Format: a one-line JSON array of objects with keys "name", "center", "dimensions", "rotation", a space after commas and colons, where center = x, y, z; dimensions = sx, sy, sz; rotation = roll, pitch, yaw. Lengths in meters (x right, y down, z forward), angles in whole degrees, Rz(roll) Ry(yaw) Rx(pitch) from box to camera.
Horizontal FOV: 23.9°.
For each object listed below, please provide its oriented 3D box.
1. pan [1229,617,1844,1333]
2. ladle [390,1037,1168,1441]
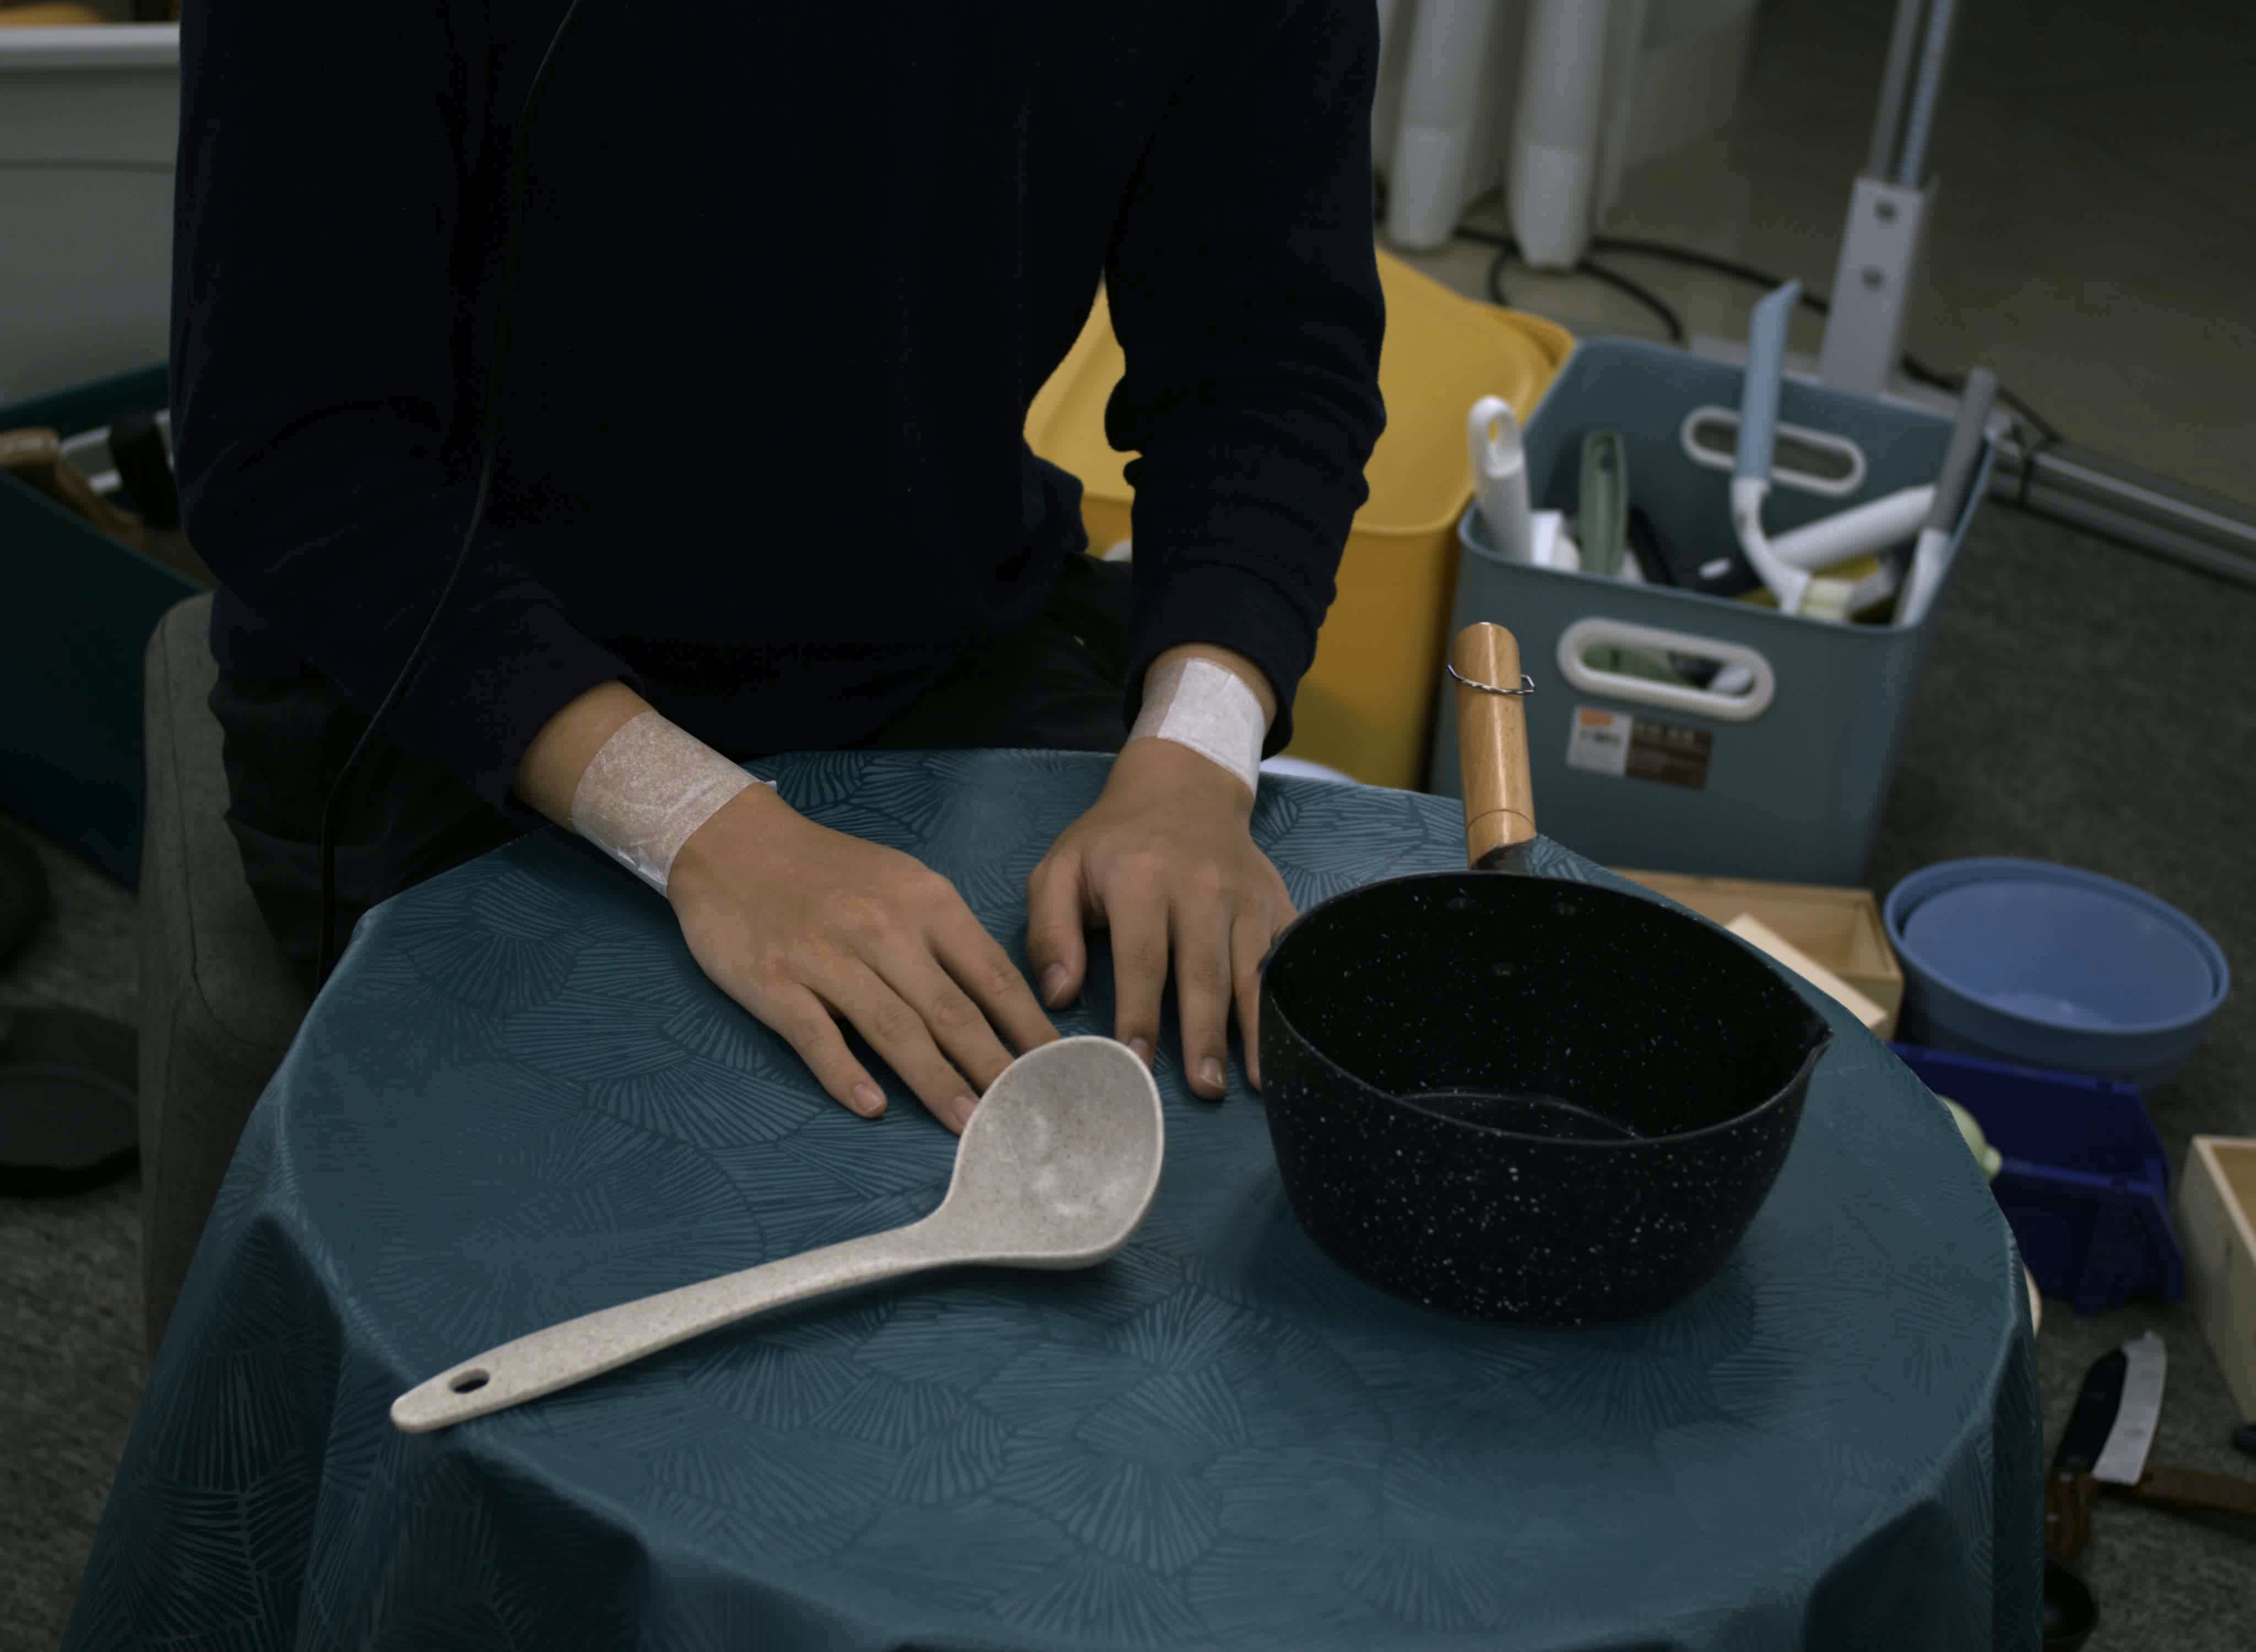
[{"name": "pan", "center": [0.131, 0.048, 1.861], "dimensions": [0.207, 0.108, 0.345], "rotation": [3, 28, -4]}, {"name": "ladle", "center": [-0.110, 0.131, 1.693], "dimensions": [0.273, 0.069, 0.090], "rotation": [-14, 39, -33]}]
